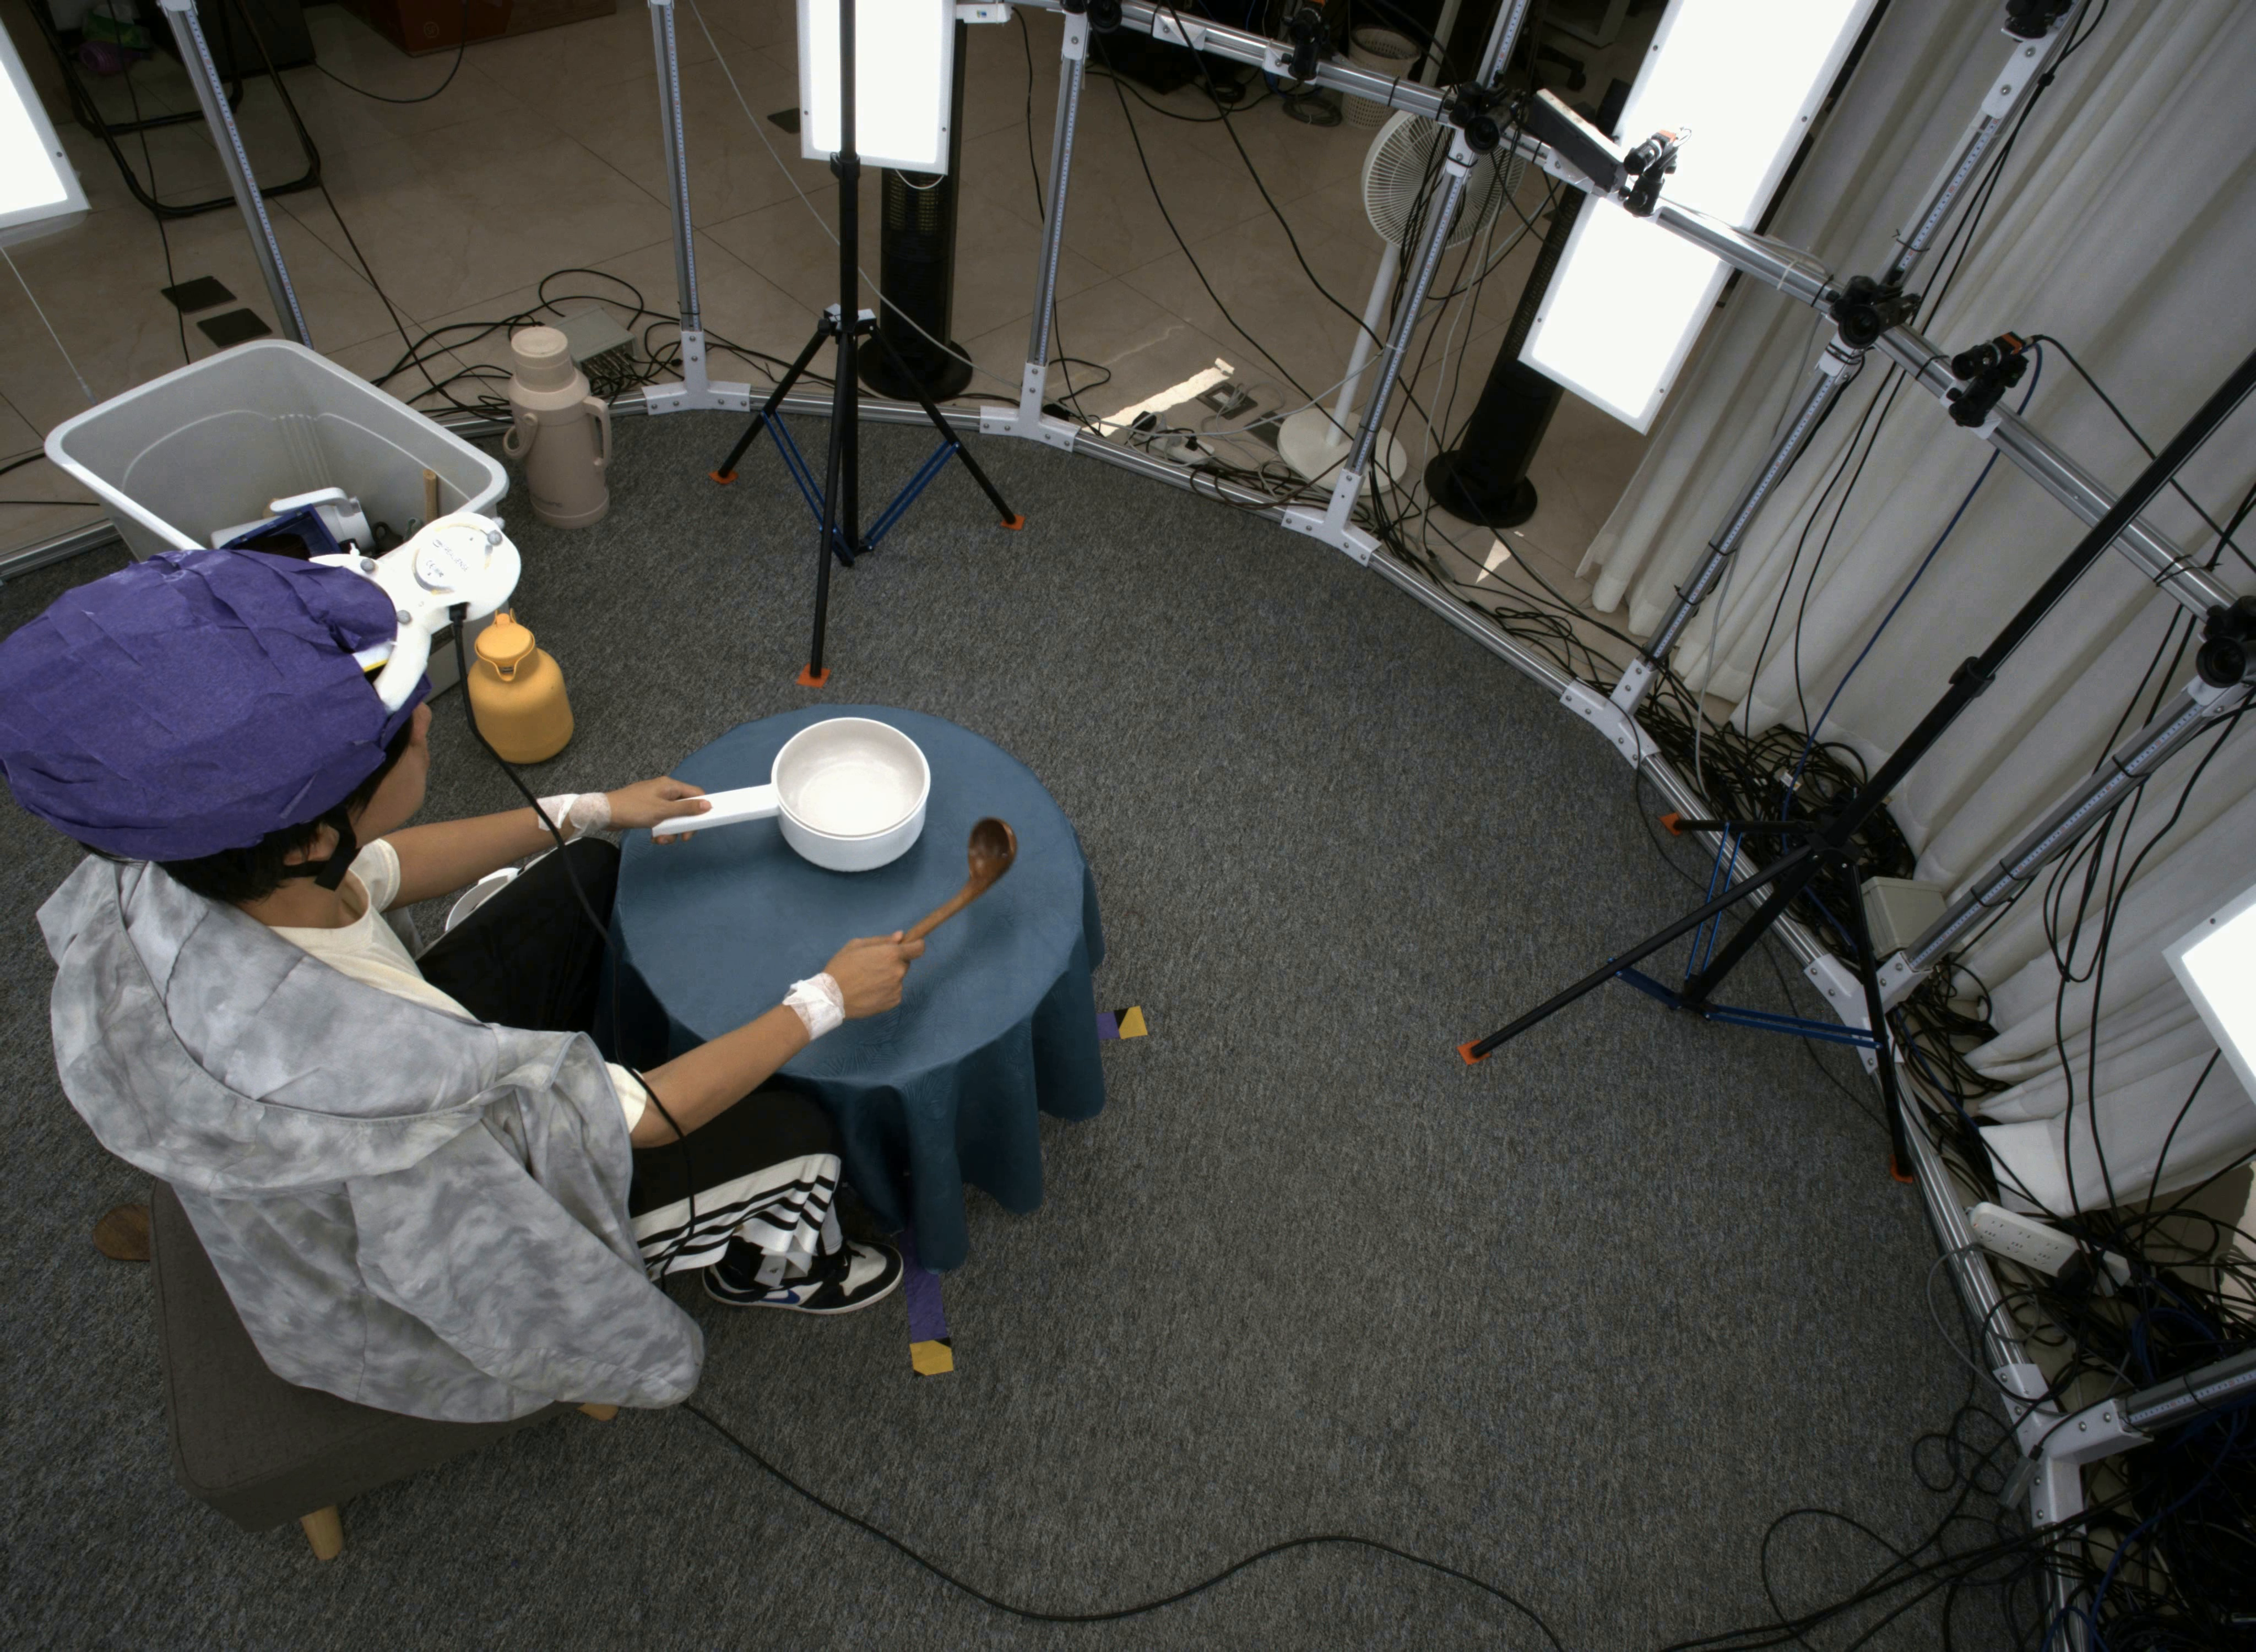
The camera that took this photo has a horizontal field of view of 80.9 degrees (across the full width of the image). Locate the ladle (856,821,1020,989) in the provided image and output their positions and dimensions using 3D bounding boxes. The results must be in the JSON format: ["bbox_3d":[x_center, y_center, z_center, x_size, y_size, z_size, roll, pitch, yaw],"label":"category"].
[{"bbox_3d":[-0.236,0.089,1.594,0.274,0.079,0.079,-37,113,-34],"label":"ladle"}]

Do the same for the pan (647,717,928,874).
[{"bbox_3d":[-0.434,-0.020,1.677,0.356,0.104,0.196,-13,59,-21],"label":"pan"}]
